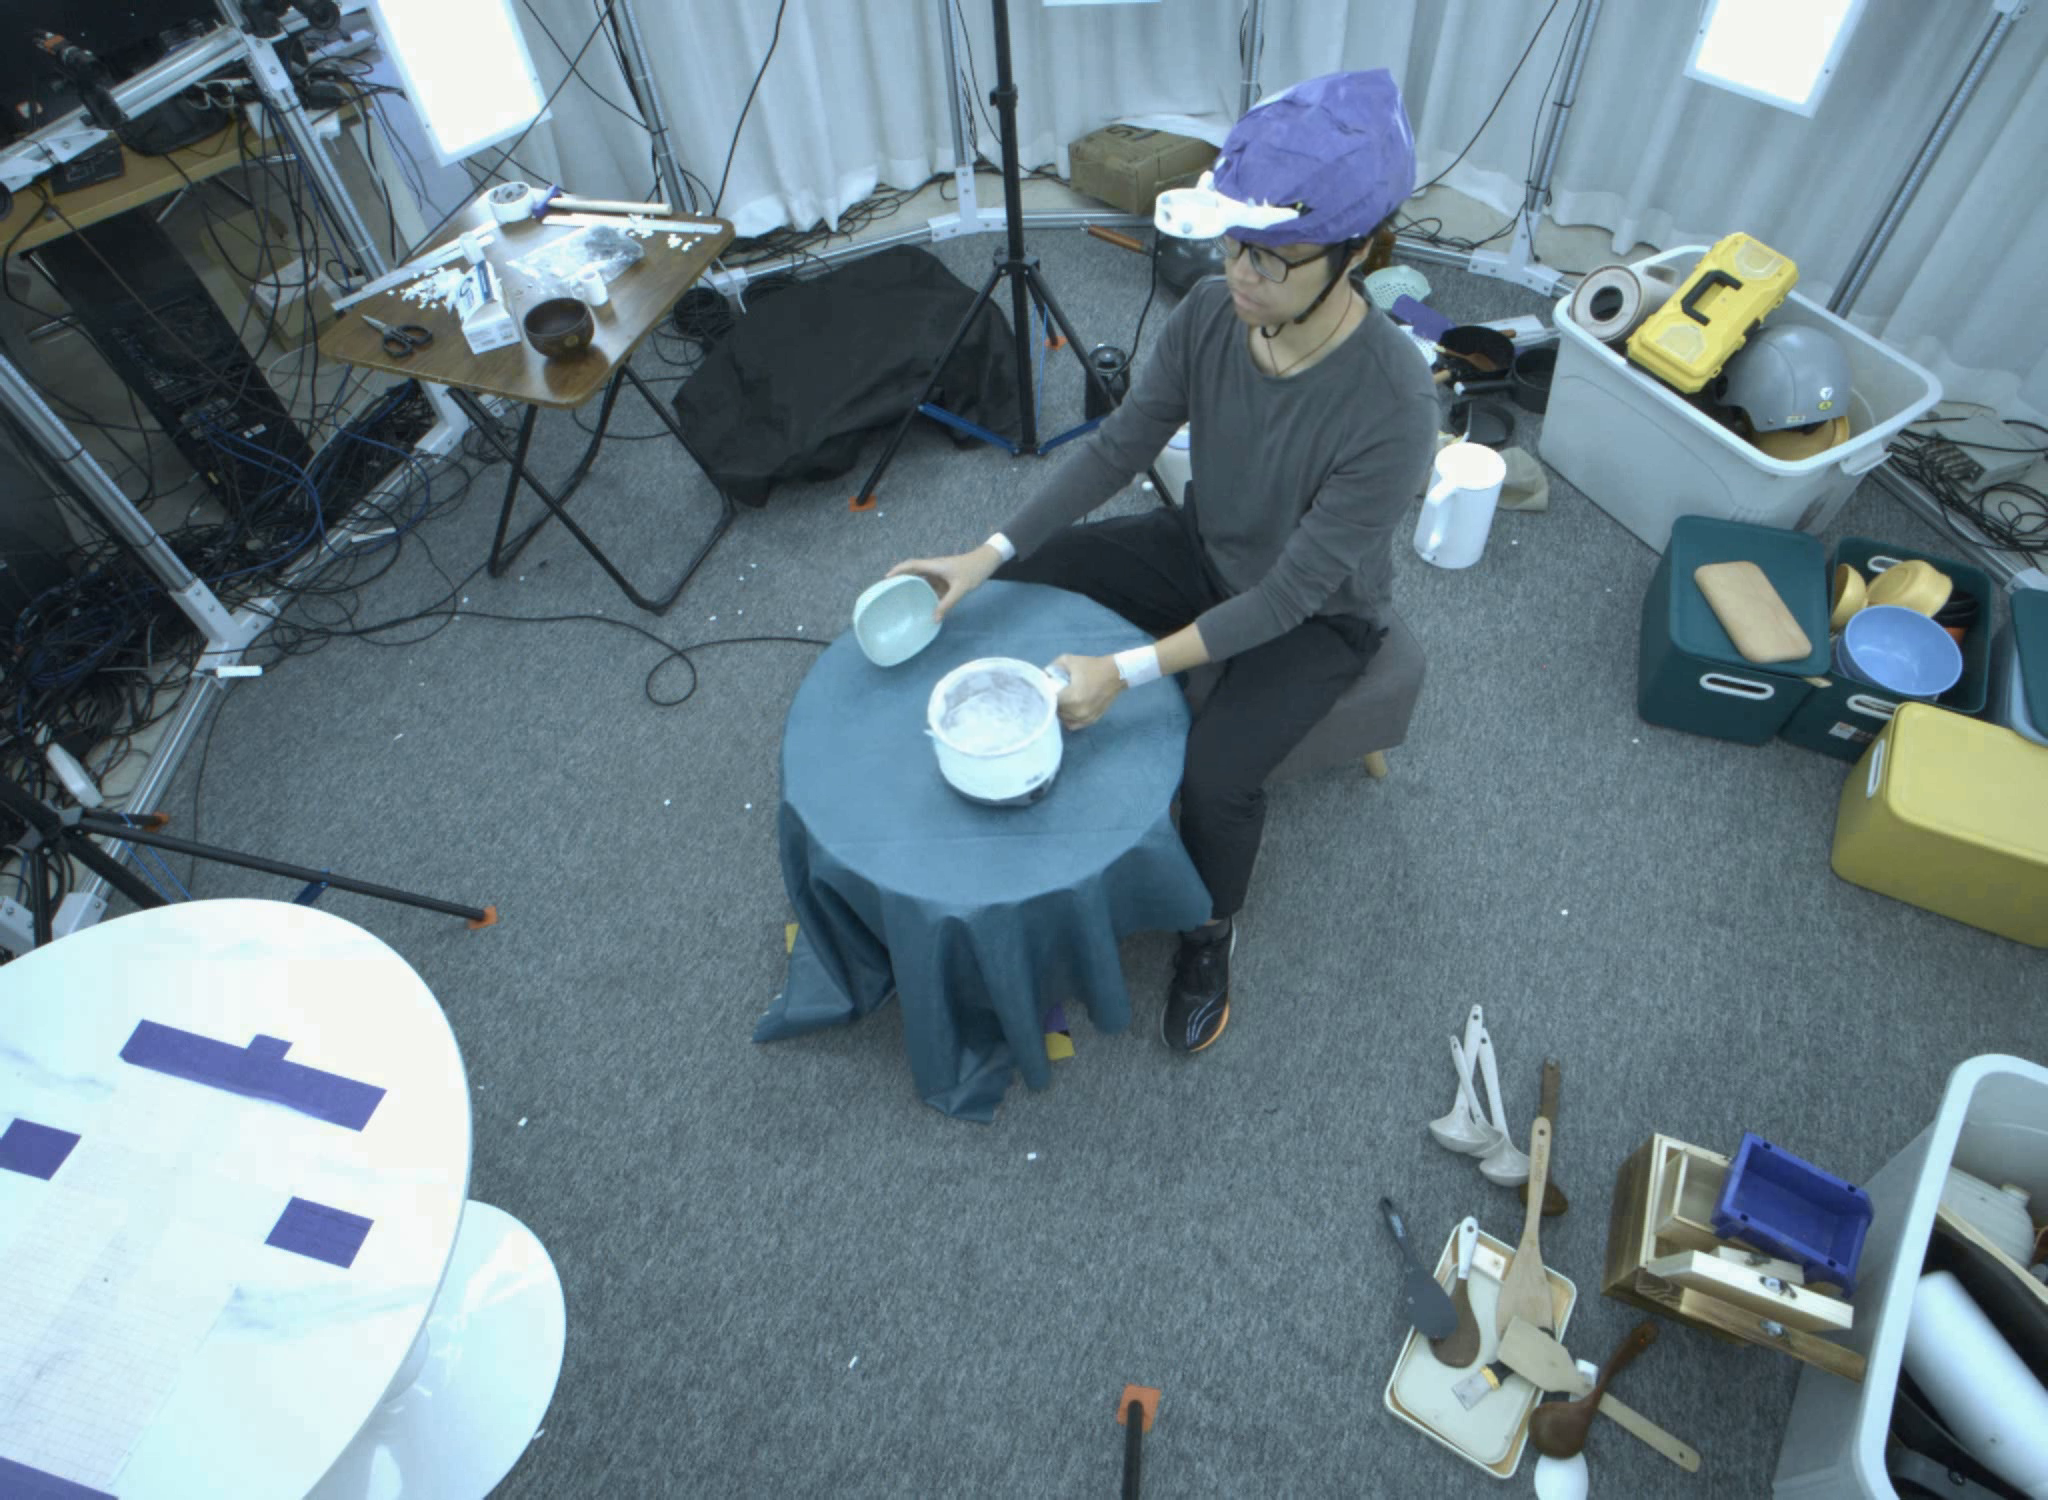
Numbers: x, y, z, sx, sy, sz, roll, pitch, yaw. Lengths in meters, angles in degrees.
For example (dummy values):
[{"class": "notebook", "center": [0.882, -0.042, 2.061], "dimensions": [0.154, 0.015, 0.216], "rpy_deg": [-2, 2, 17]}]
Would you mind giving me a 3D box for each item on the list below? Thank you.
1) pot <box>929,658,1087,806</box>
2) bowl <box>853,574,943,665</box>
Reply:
[{"class": "pot", "center": [-0.014, -0.036, 1.733], "dimensions": [0.235, 0.138, 0.175], "rpy_deg": [-32, 56, -20]}, {"class": "bowl", "center": [-0.201, -0.208, 1.855], "dimensions": [0.152, 0.153, 0.057], "rpy_deg": [-28, 47, -16]}]
